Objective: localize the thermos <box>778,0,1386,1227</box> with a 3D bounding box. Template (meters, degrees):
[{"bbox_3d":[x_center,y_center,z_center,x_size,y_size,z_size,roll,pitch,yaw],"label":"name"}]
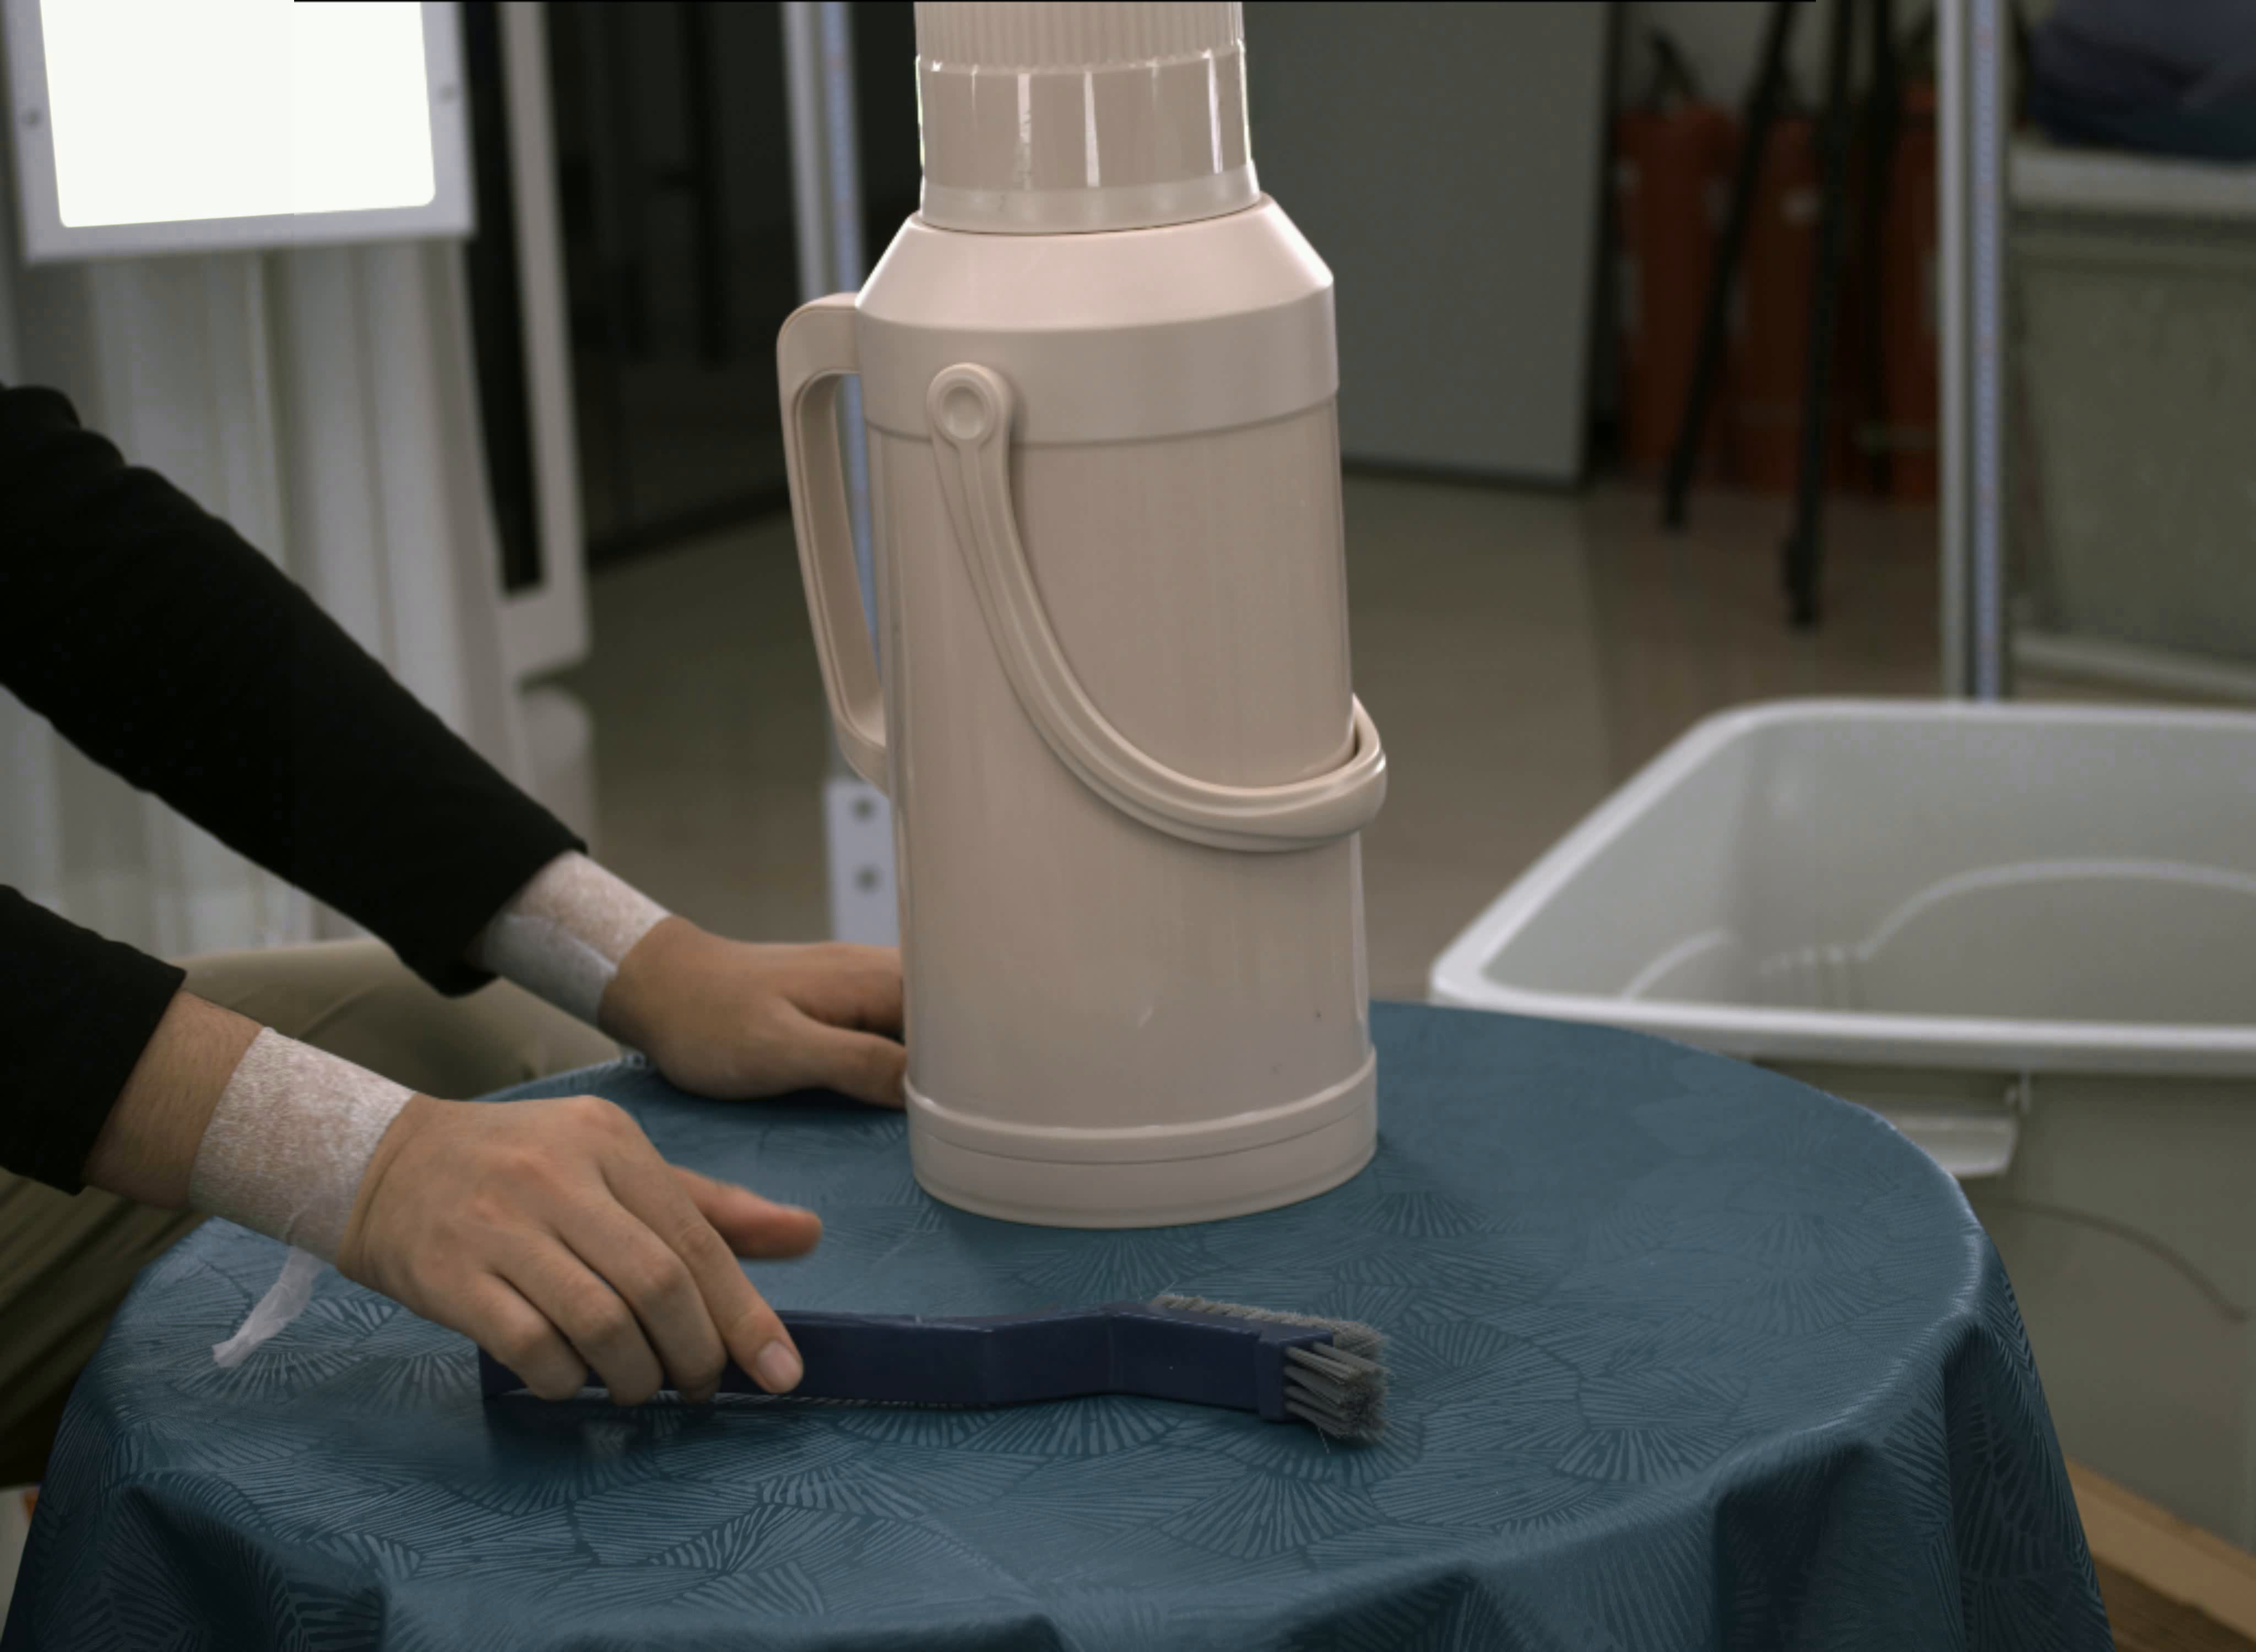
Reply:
[{"bbox_3d":[-0.017,-0.084,1.772,0.208,0.410,0.173,4,17,29],"label":"thermos"}]

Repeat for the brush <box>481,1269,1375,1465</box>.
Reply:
[{"bbox_3d":[-0.063,0.156,1.575,0.271,0.034,0.095,0,13,8],"label":"brush"}]
